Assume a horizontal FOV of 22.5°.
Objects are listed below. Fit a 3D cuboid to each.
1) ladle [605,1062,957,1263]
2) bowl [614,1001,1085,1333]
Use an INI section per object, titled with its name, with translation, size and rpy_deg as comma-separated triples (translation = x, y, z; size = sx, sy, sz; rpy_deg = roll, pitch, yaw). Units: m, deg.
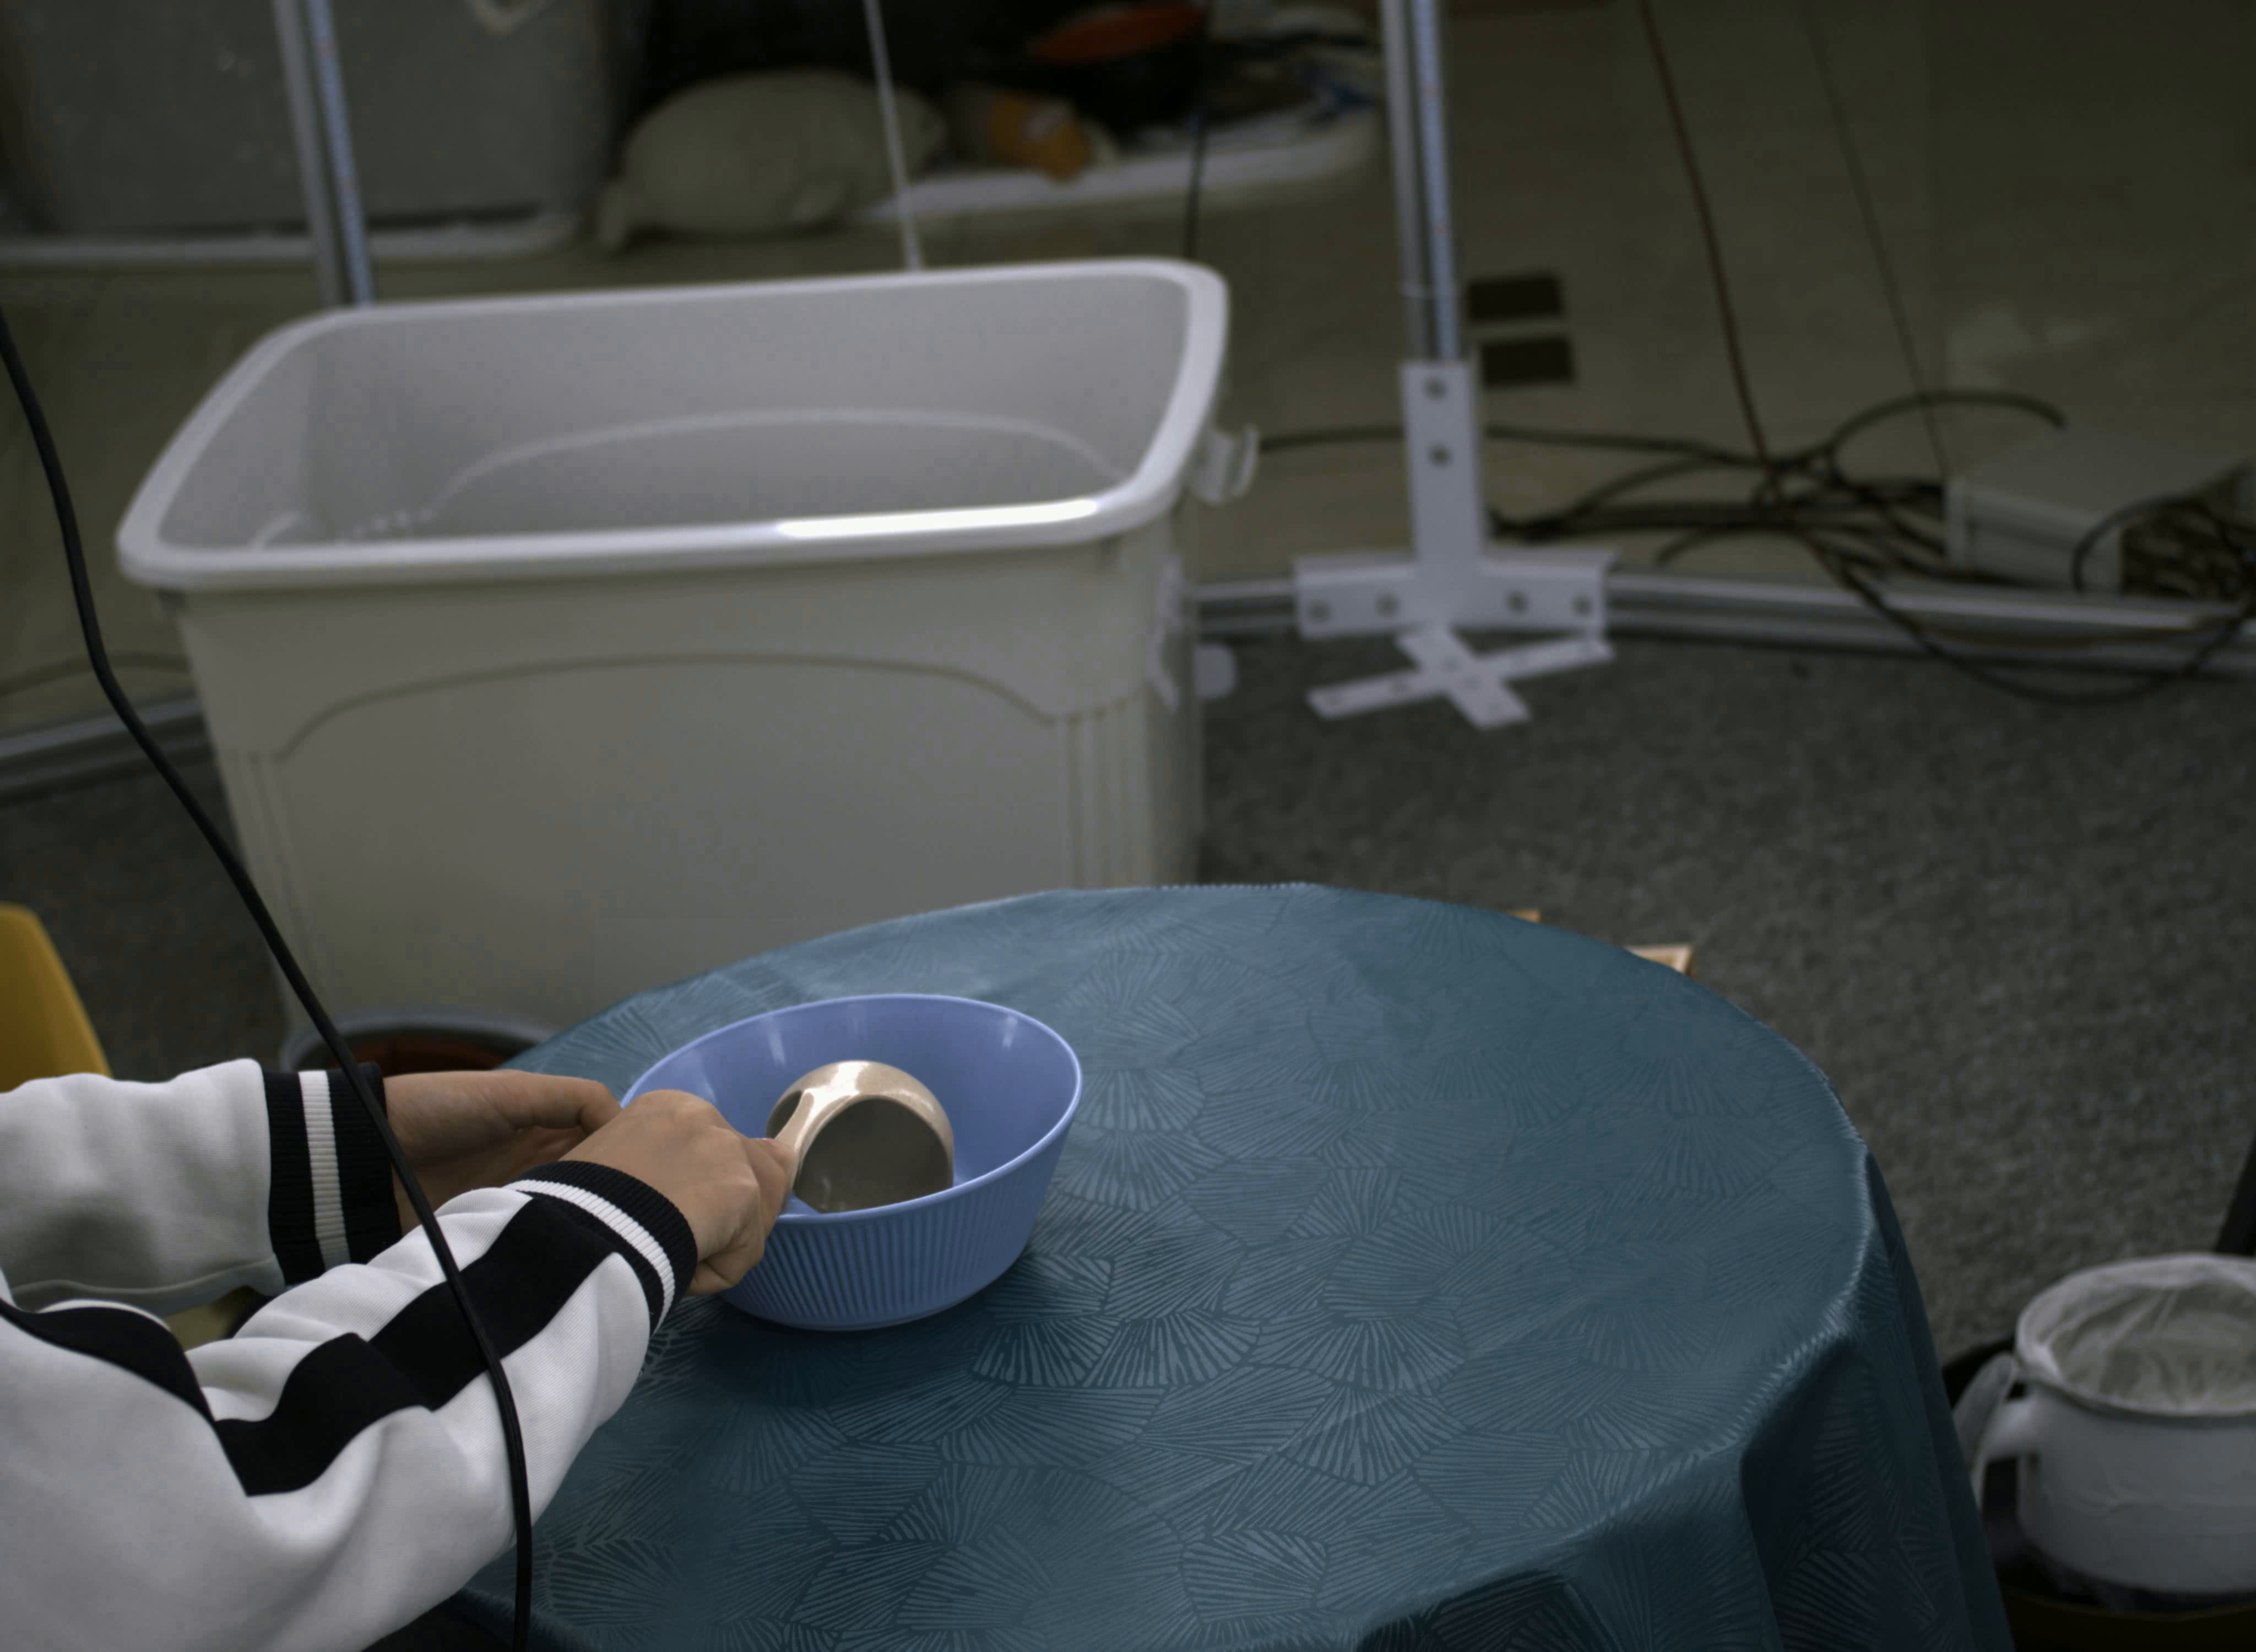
[ladle]
translation = -0.129, 0.146, 2.011
size = 0.072, 0.073, 0.252
rpy_deg = 5, 16, 18
[bowl]
translation = -0.100, 0.132, 2.105
size = 0.176, 0.071, 0.173
rpy_deg = -5, 24, 3
